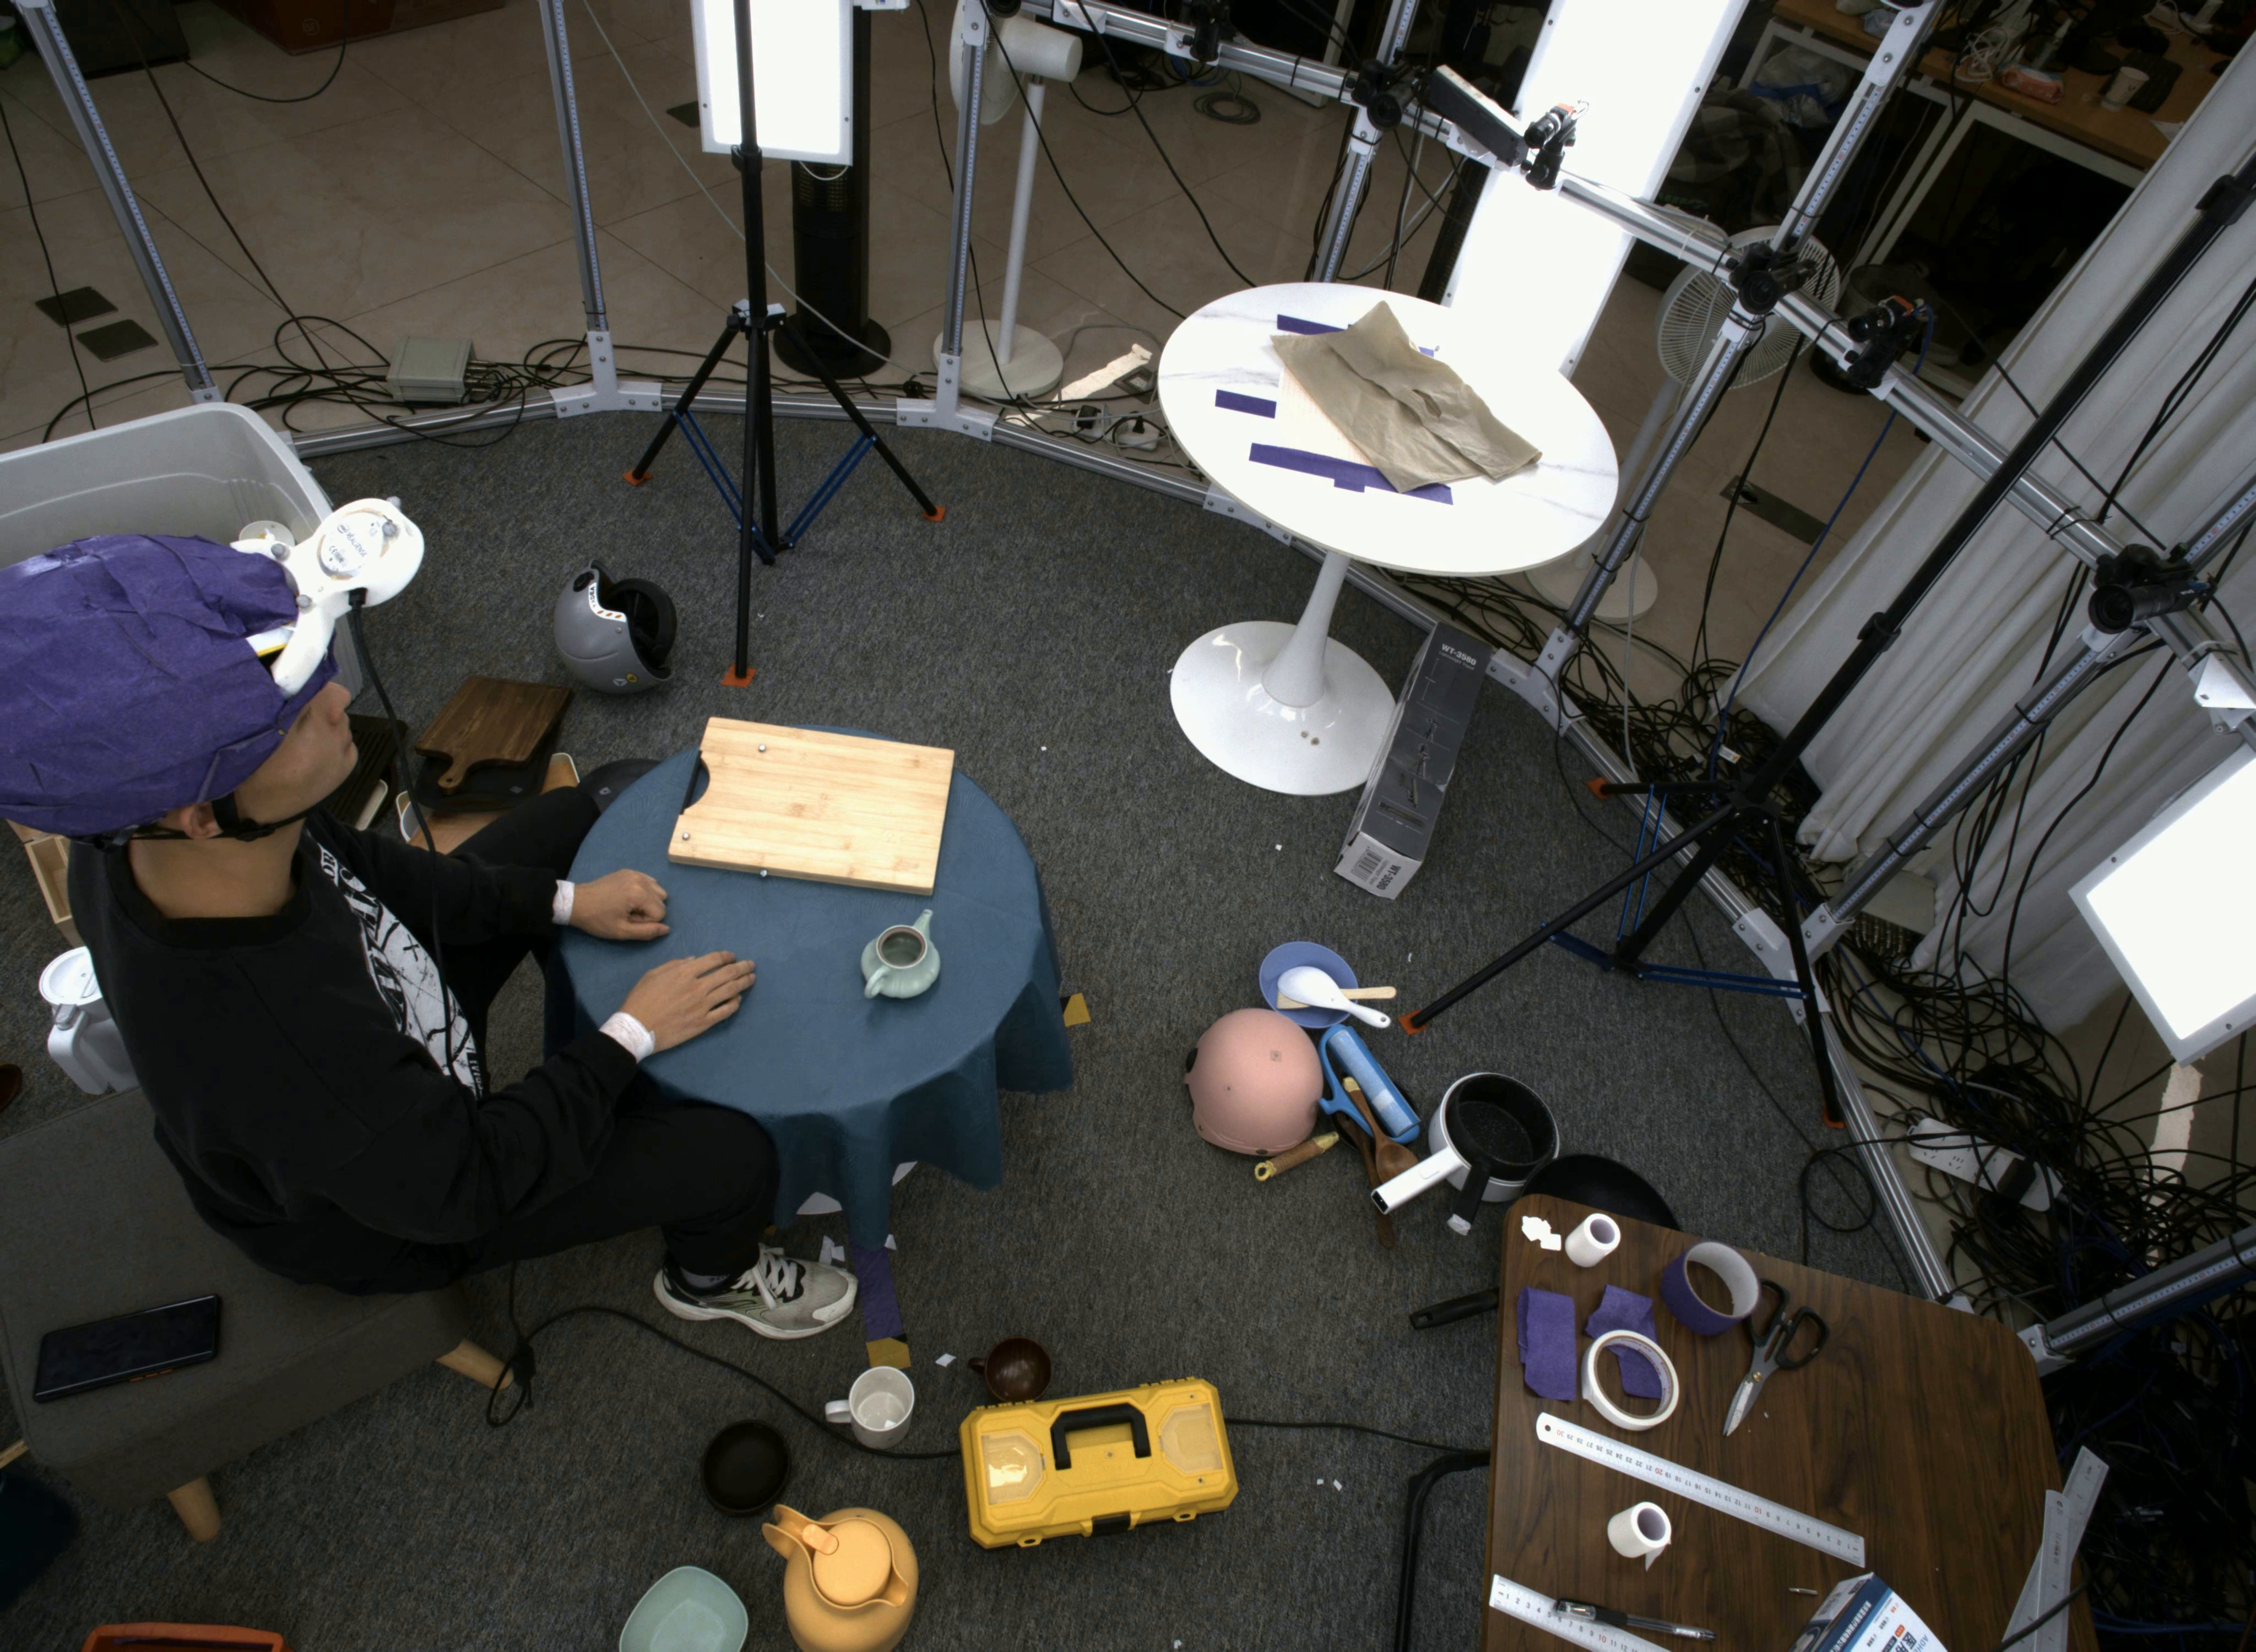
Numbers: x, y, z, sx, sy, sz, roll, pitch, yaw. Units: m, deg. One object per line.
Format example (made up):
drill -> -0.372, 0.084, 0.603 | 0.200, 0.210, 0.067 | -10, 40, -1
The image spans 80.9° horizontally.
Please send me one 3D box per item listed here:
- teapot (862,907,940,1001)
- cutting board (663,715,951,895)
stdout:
teapot -> -0.281, 0.163, 1.598 | 0.095, 0.062, 0.136 | 27, 52, 6
cutting board -> -0.421, -0.032, 1.736 | 0.348, 0.024, 0.246 | 7, 52, -10
